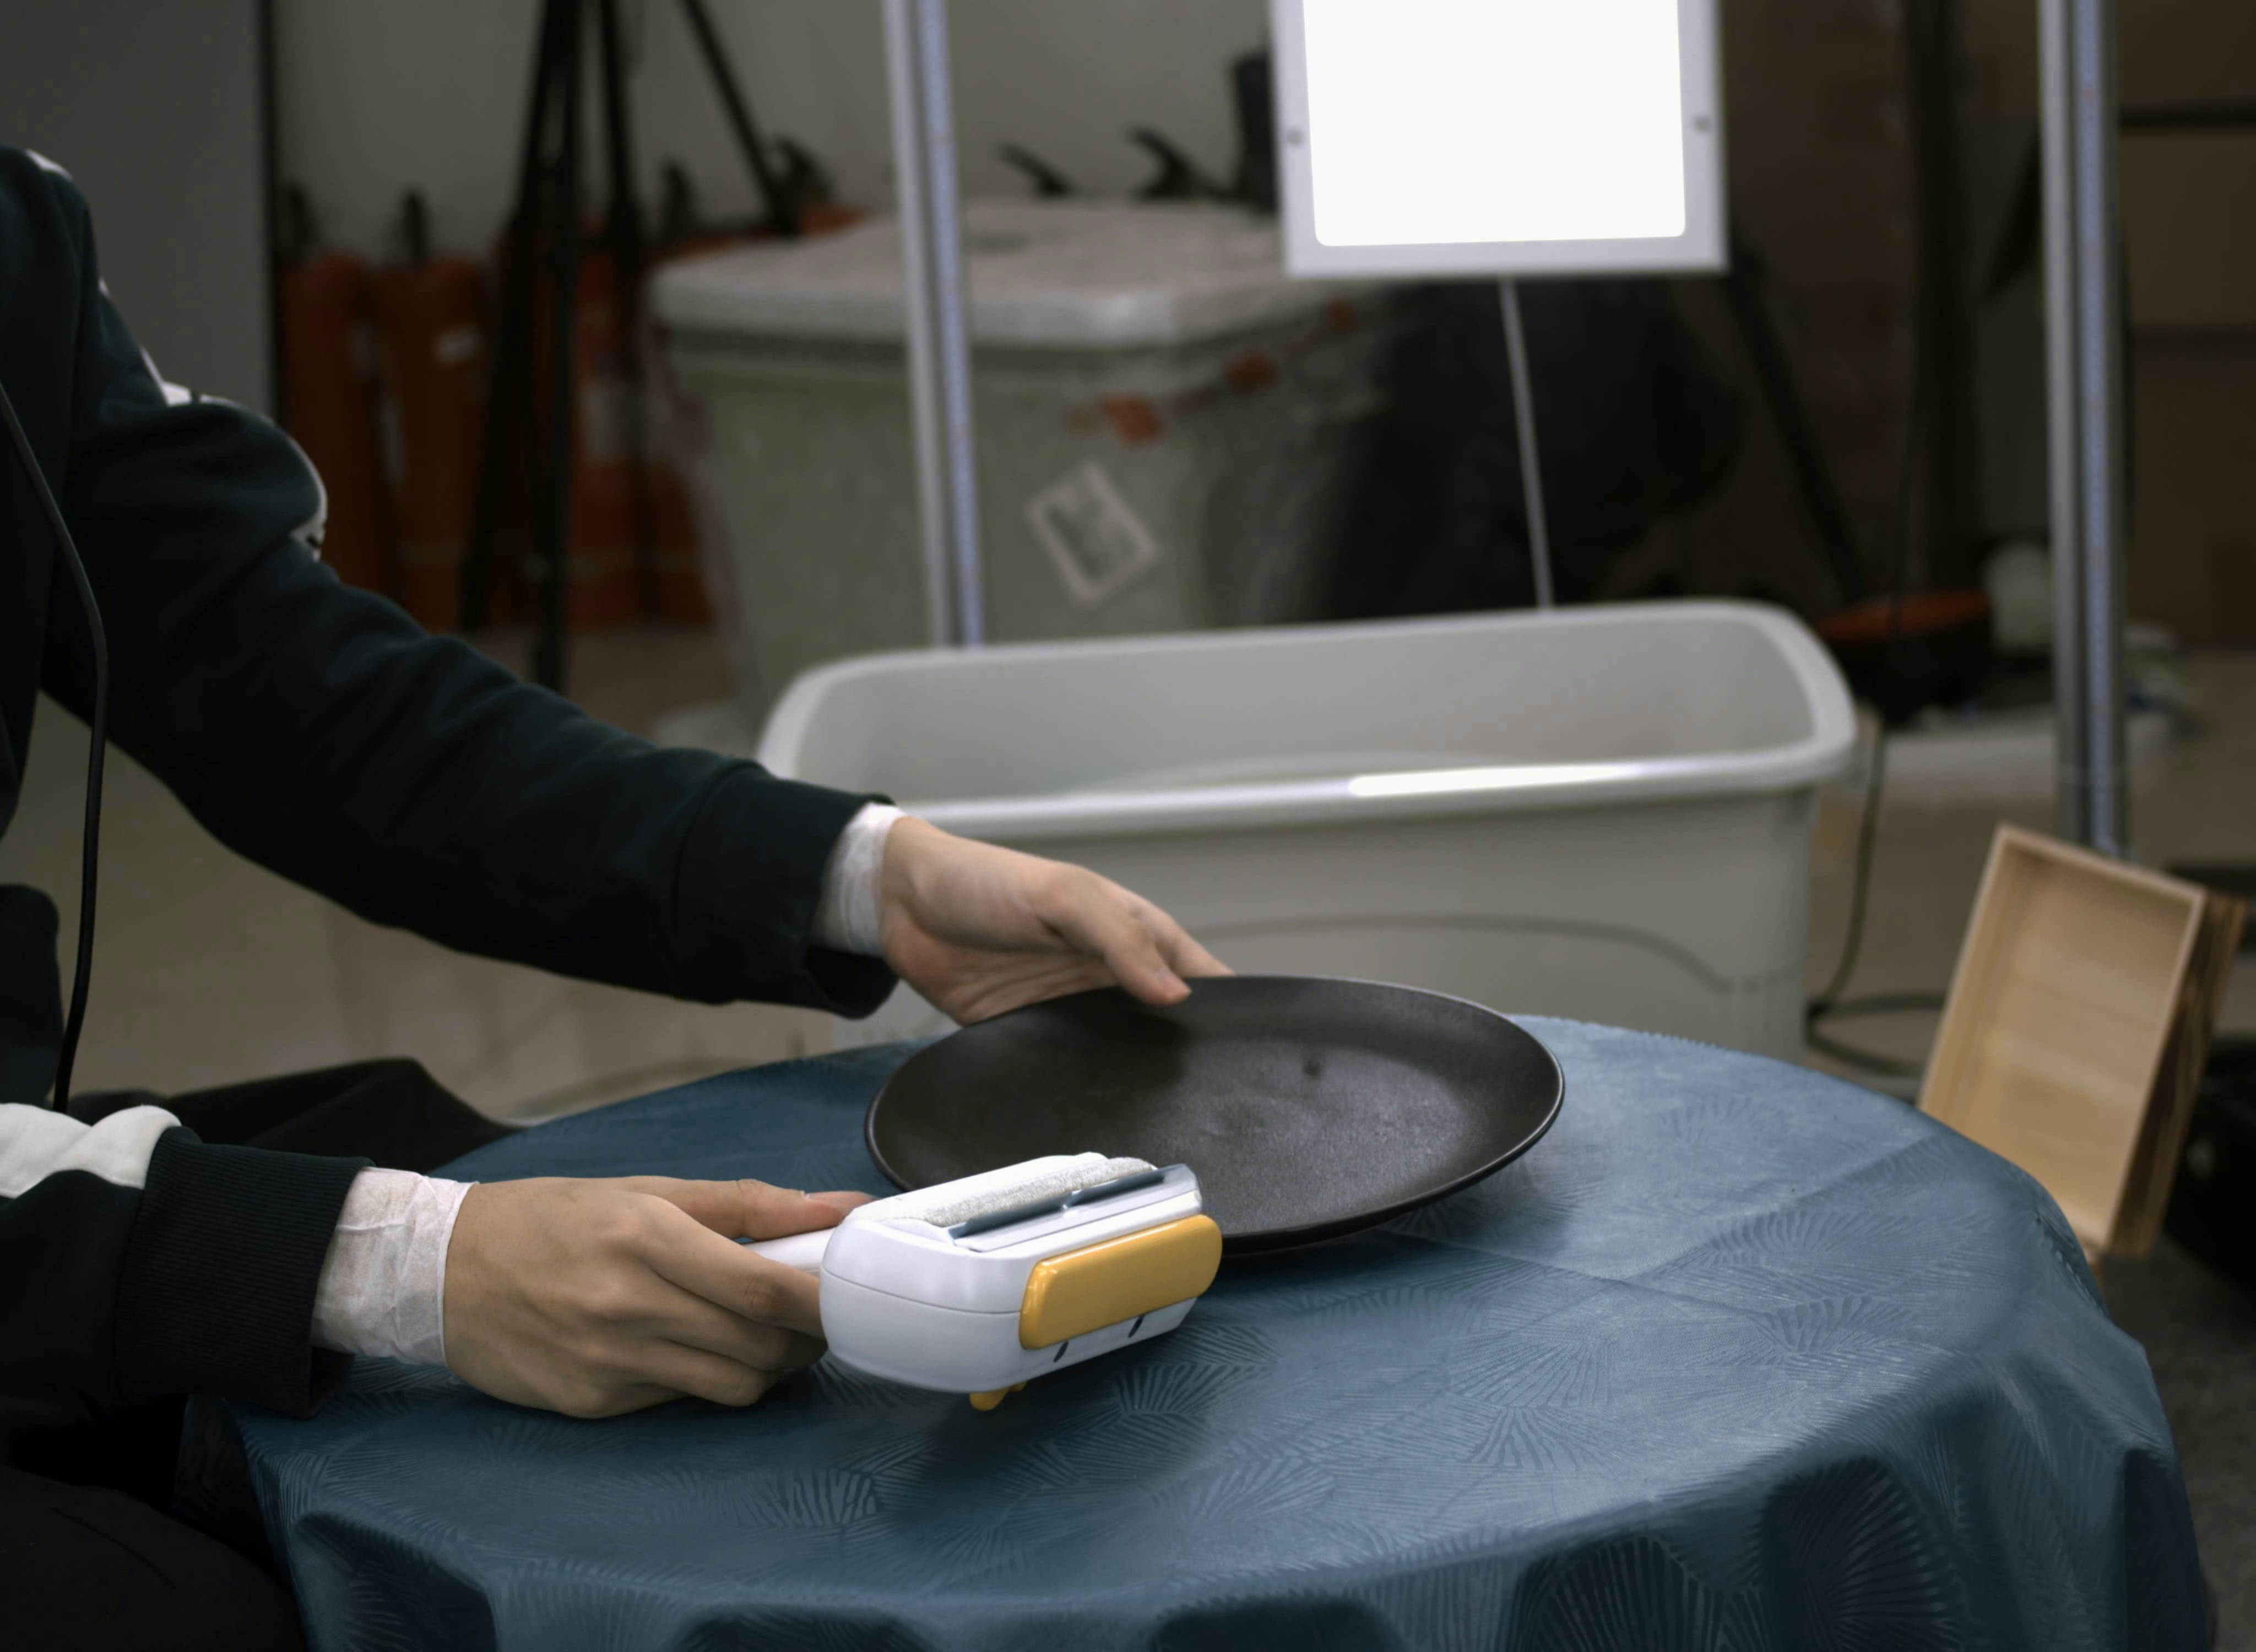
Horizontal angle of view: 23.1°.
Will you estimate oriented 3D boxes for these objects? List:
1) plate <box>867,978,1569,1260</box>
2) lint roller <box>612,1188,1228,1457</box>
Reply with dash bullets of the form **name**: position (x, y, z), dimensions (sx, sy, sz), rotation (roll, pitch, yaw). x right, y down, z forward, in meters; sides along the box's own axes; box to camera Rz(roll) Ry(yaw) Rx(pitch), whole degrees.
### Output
- **plate**: position (0.032, 0.104, 1.898), dimensions (0.244, 0.023, 0.244), rotation (-5, 18, 0)
- **lint roller**: position (-0.083, 0.159, 1.720), dimensions (0.196, 0.074, 0.188), rotation (-11, 0, 31)
